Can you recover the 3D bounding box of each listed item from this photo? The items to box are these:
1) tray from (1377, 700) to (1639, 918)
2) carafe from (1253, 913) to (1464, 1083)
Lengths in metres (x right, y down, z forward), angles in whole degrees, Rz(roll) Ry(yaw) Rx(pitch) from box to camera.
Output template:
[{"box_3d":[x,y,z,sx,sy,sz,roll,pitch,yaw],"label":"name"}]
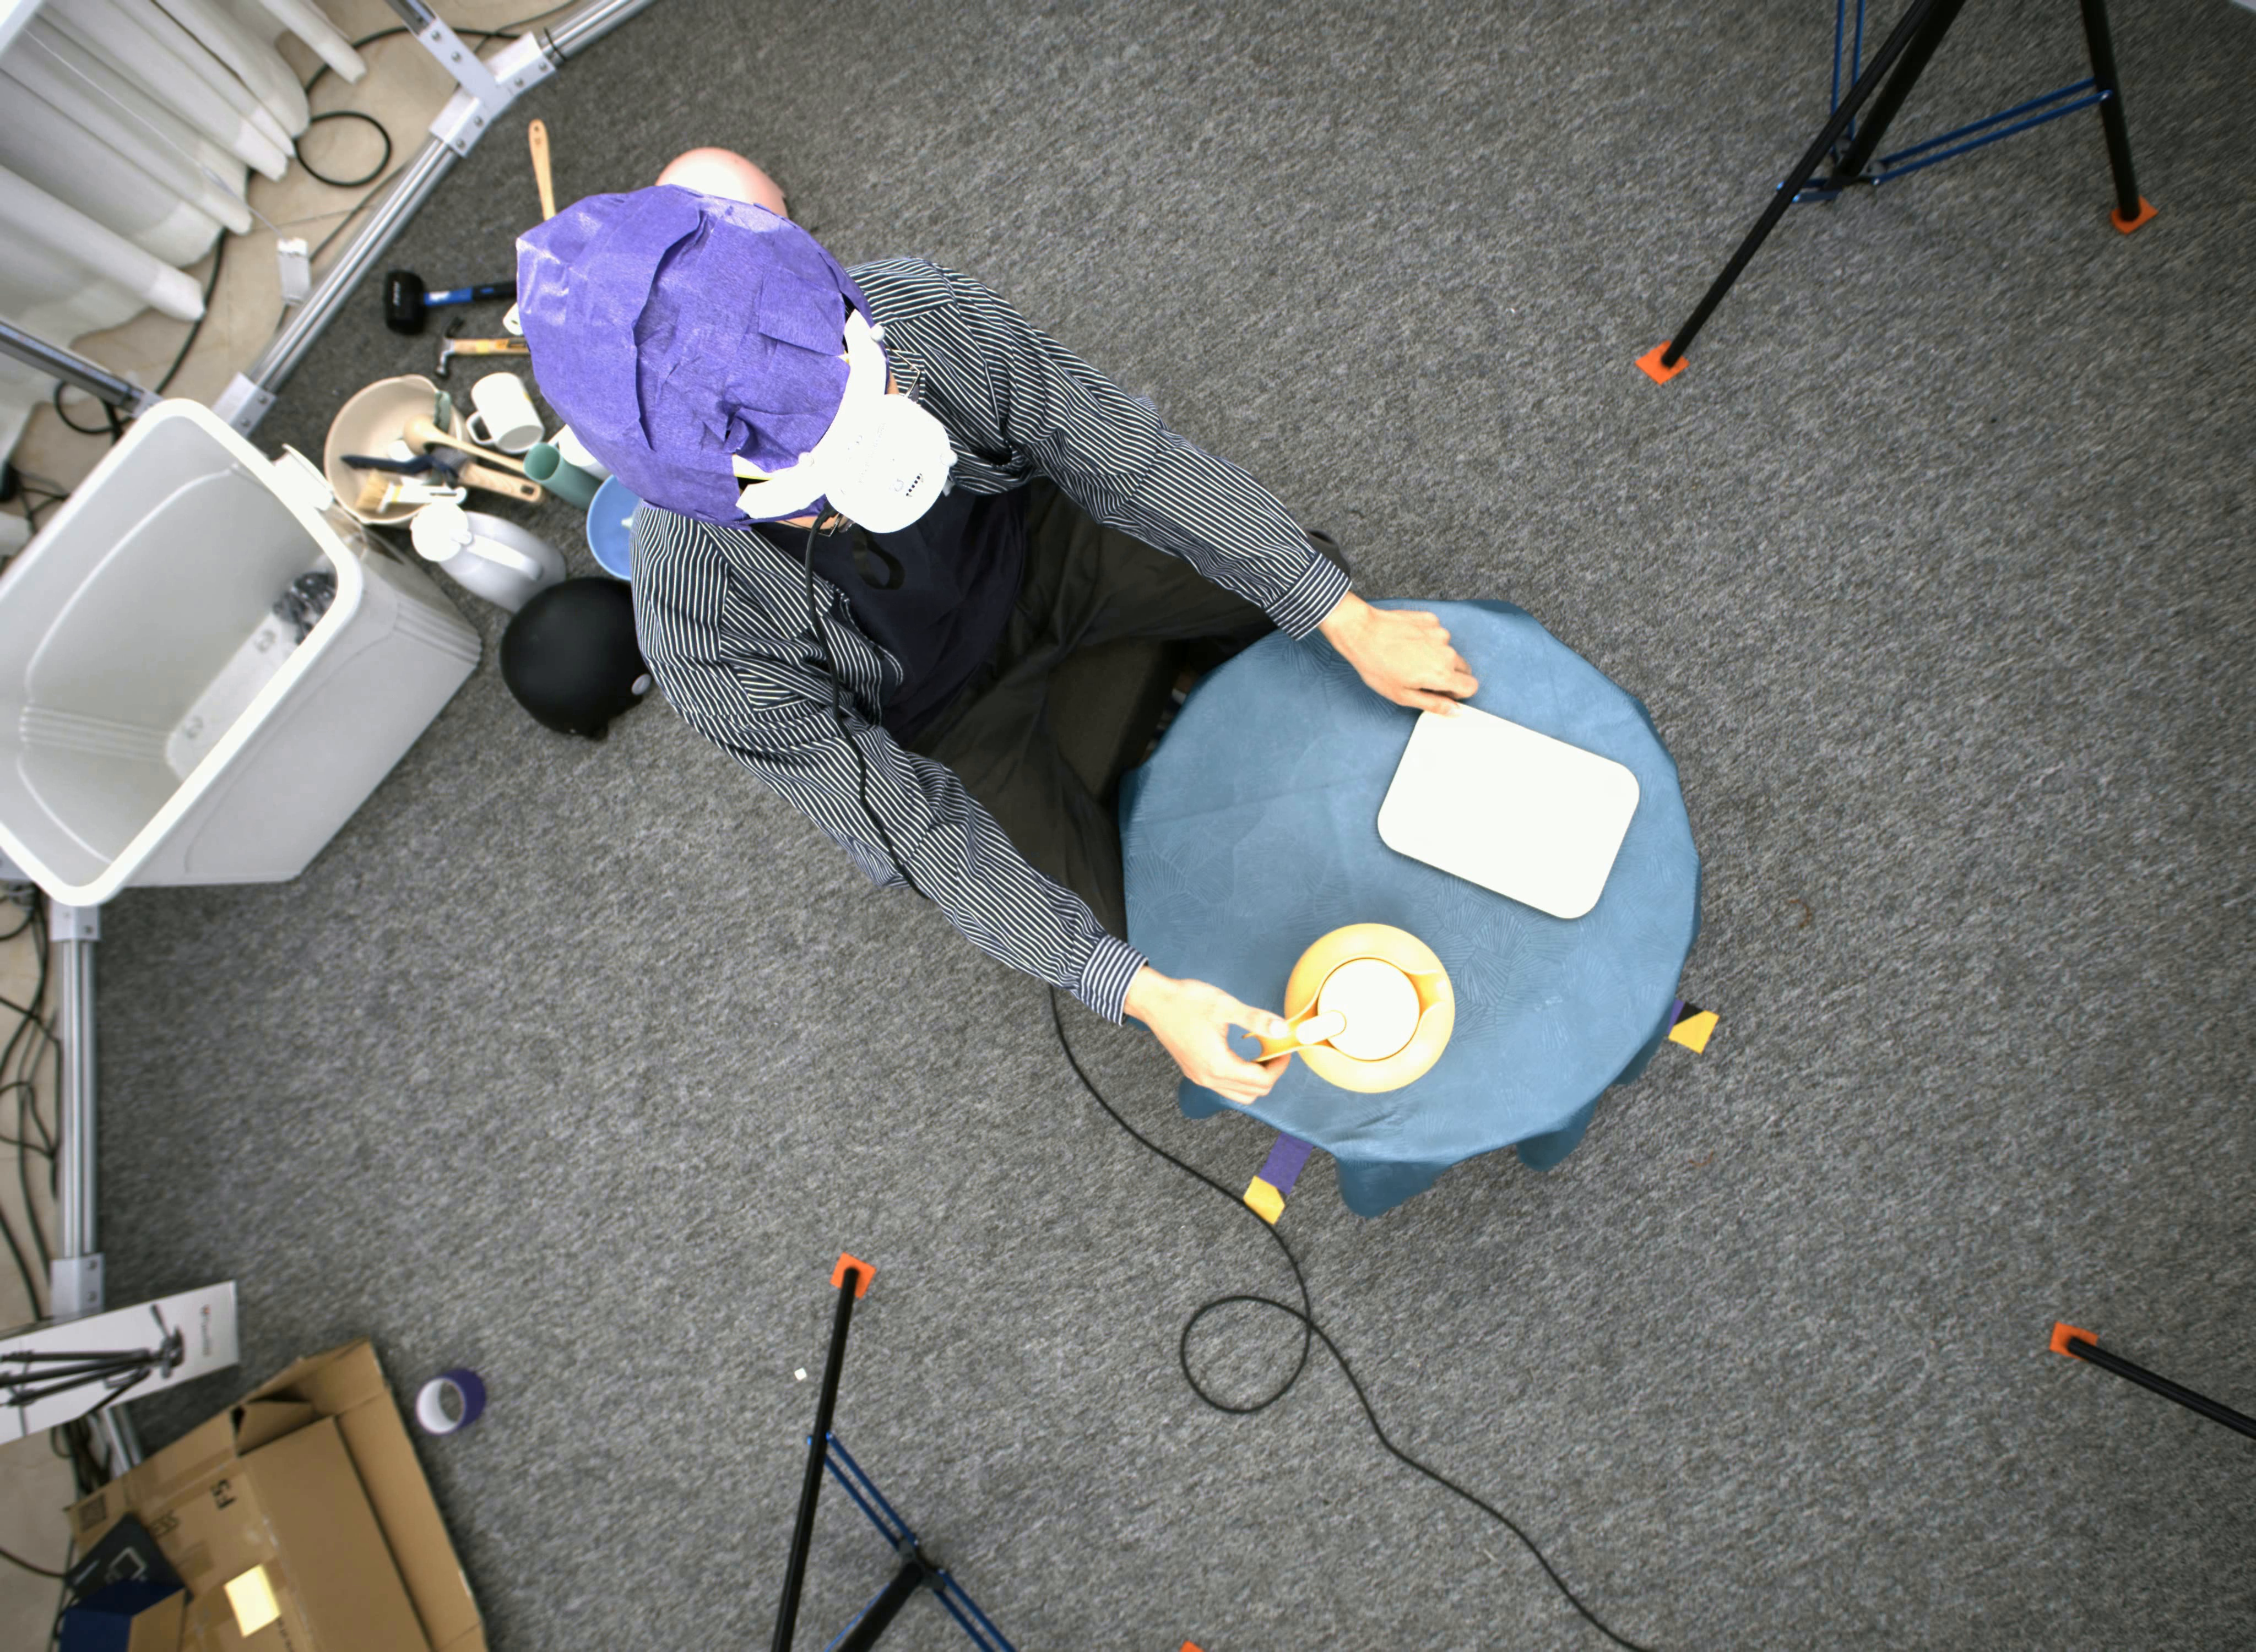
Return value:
[{"box_3d":[0.392,-0.021,1.422,0.239,0.017,0.171,23,91,11],"label":"tray"},{"box_3d":[0.219,0.168,1.322,0.203,0.261,0.162,-23,81,7],"label":"carafe"}]
